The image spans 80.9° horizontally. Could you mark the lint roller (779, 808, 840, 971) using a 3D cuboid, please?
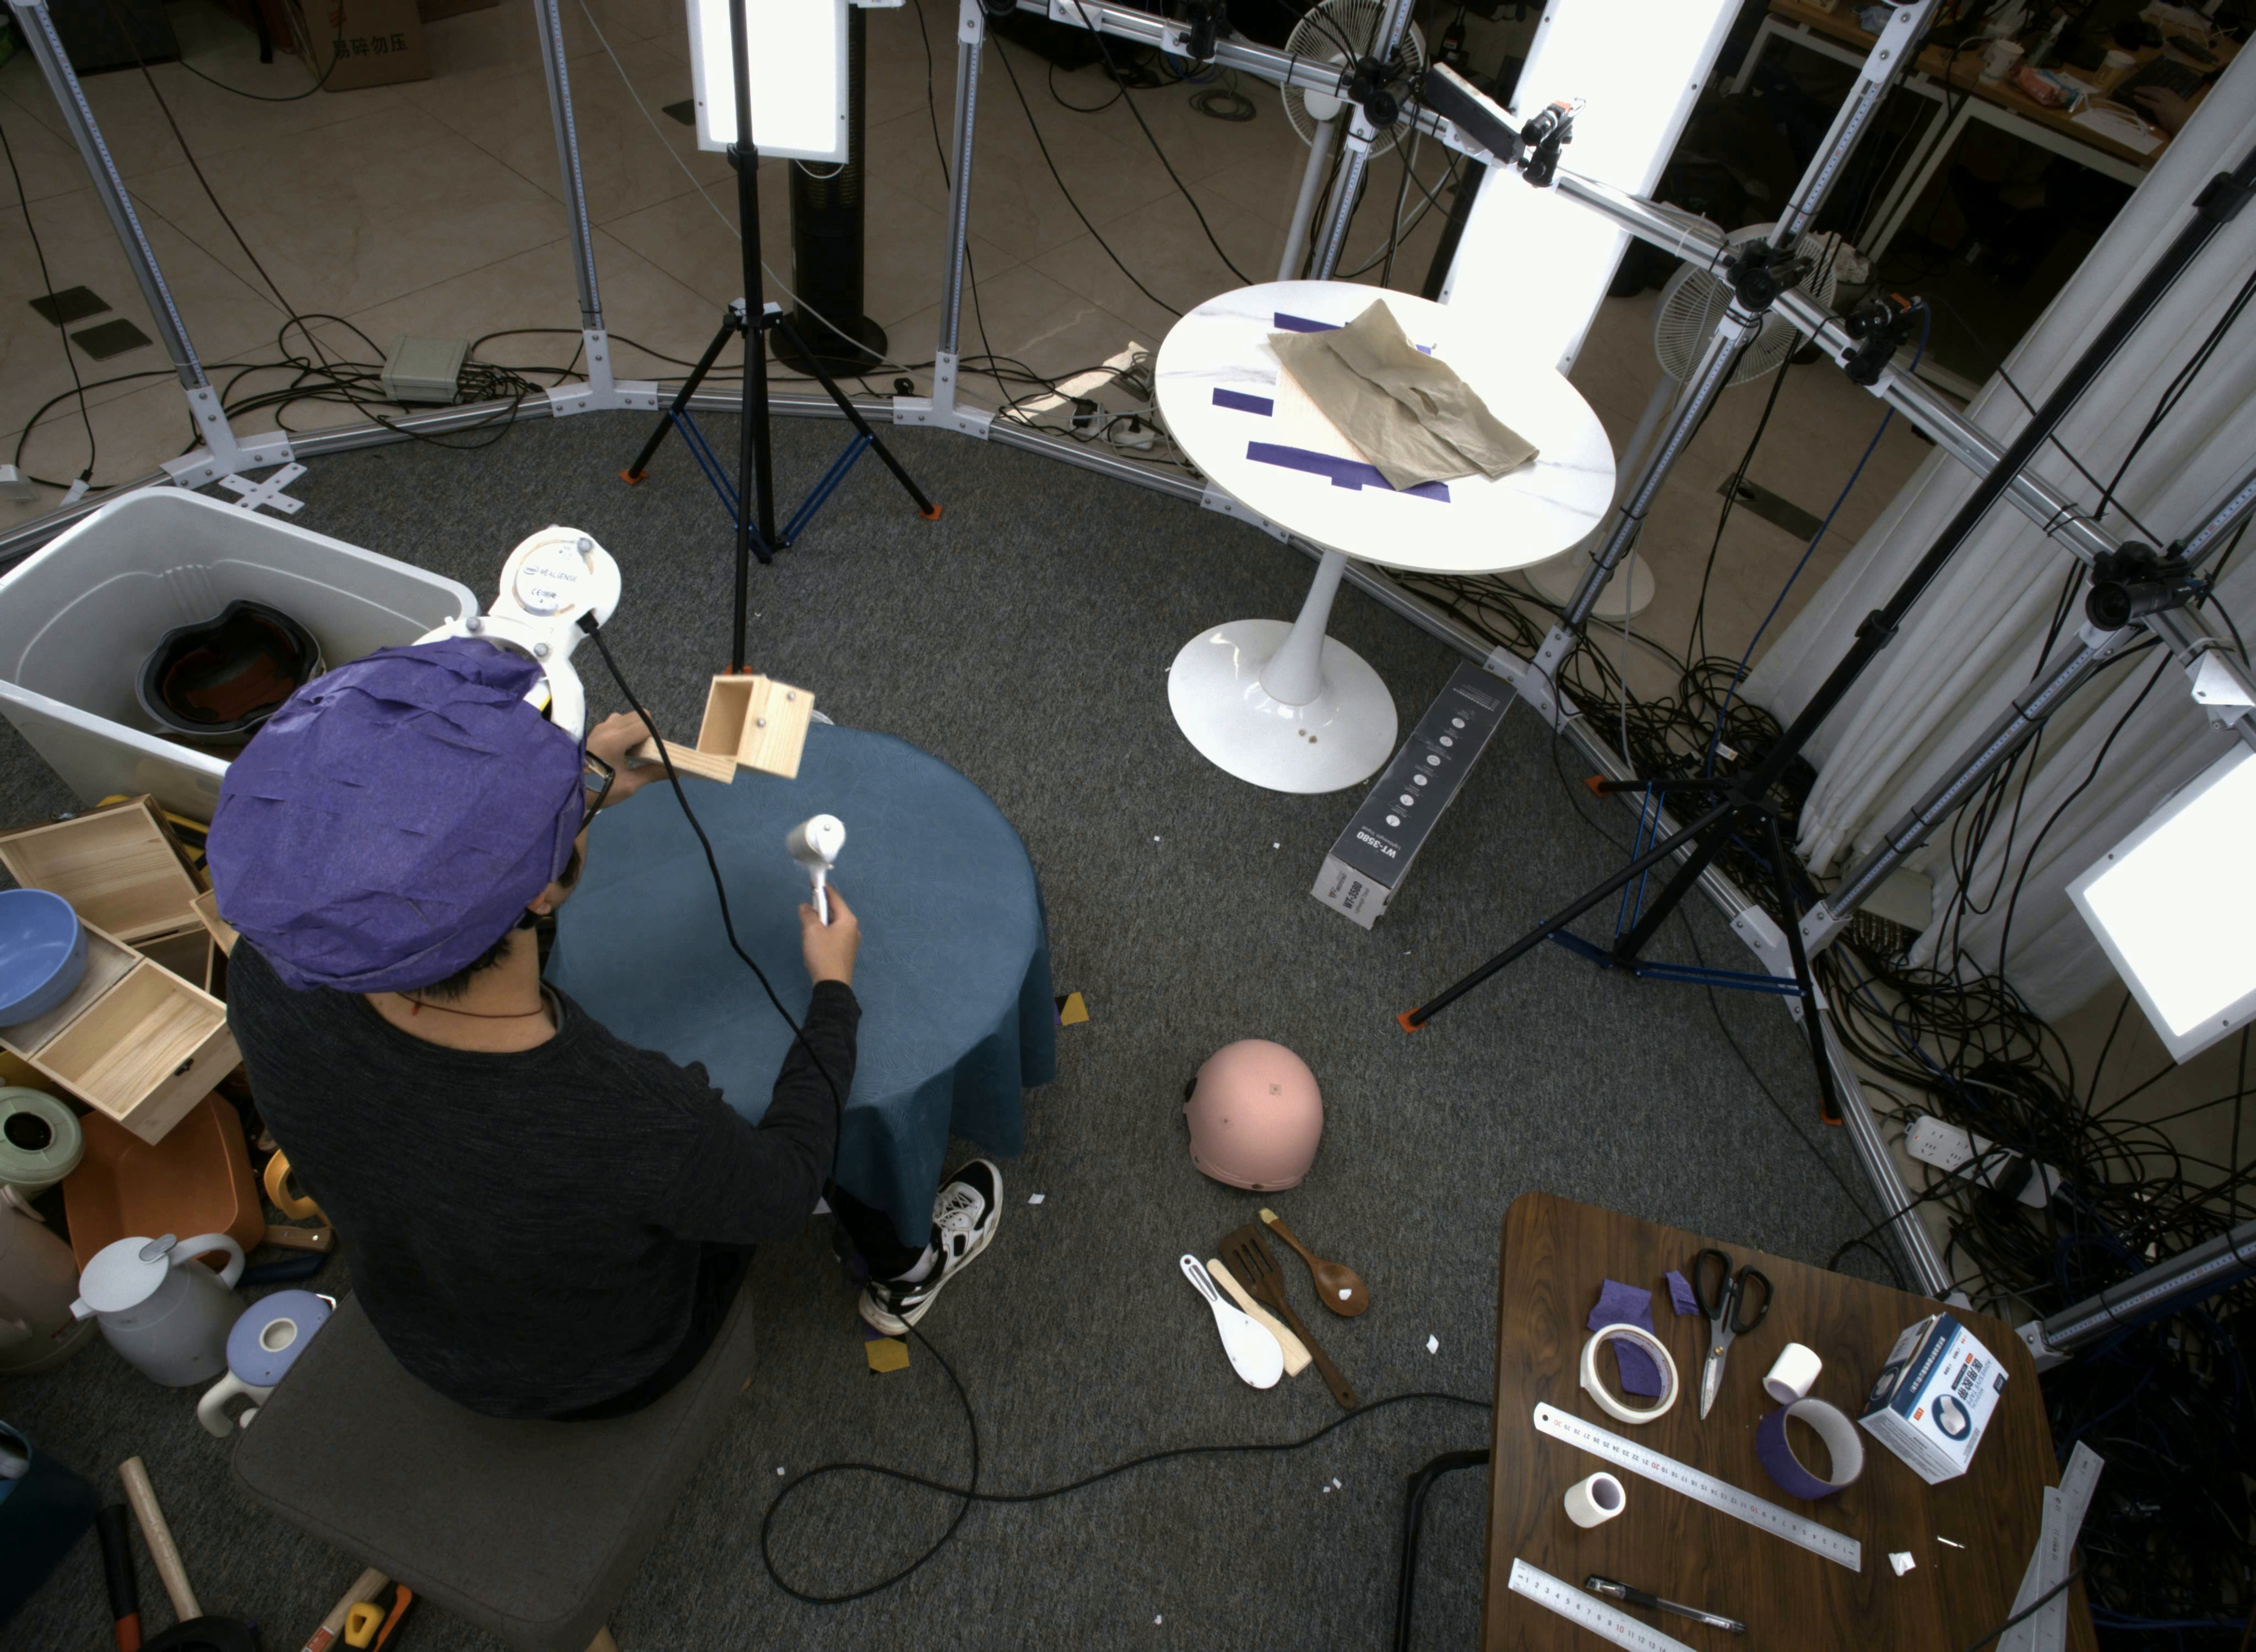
[{"bbox_3d":[-0.355,0.073,1.508,0.050,0.130,0.183,-16,90,-31],"label":"lint roller"}]

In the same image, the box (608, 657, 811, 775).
[{"bbox_3d":[-0.467,-0.127,1.432,0.189,0.099,0.135,15,83,-46],"label":"box"}]
